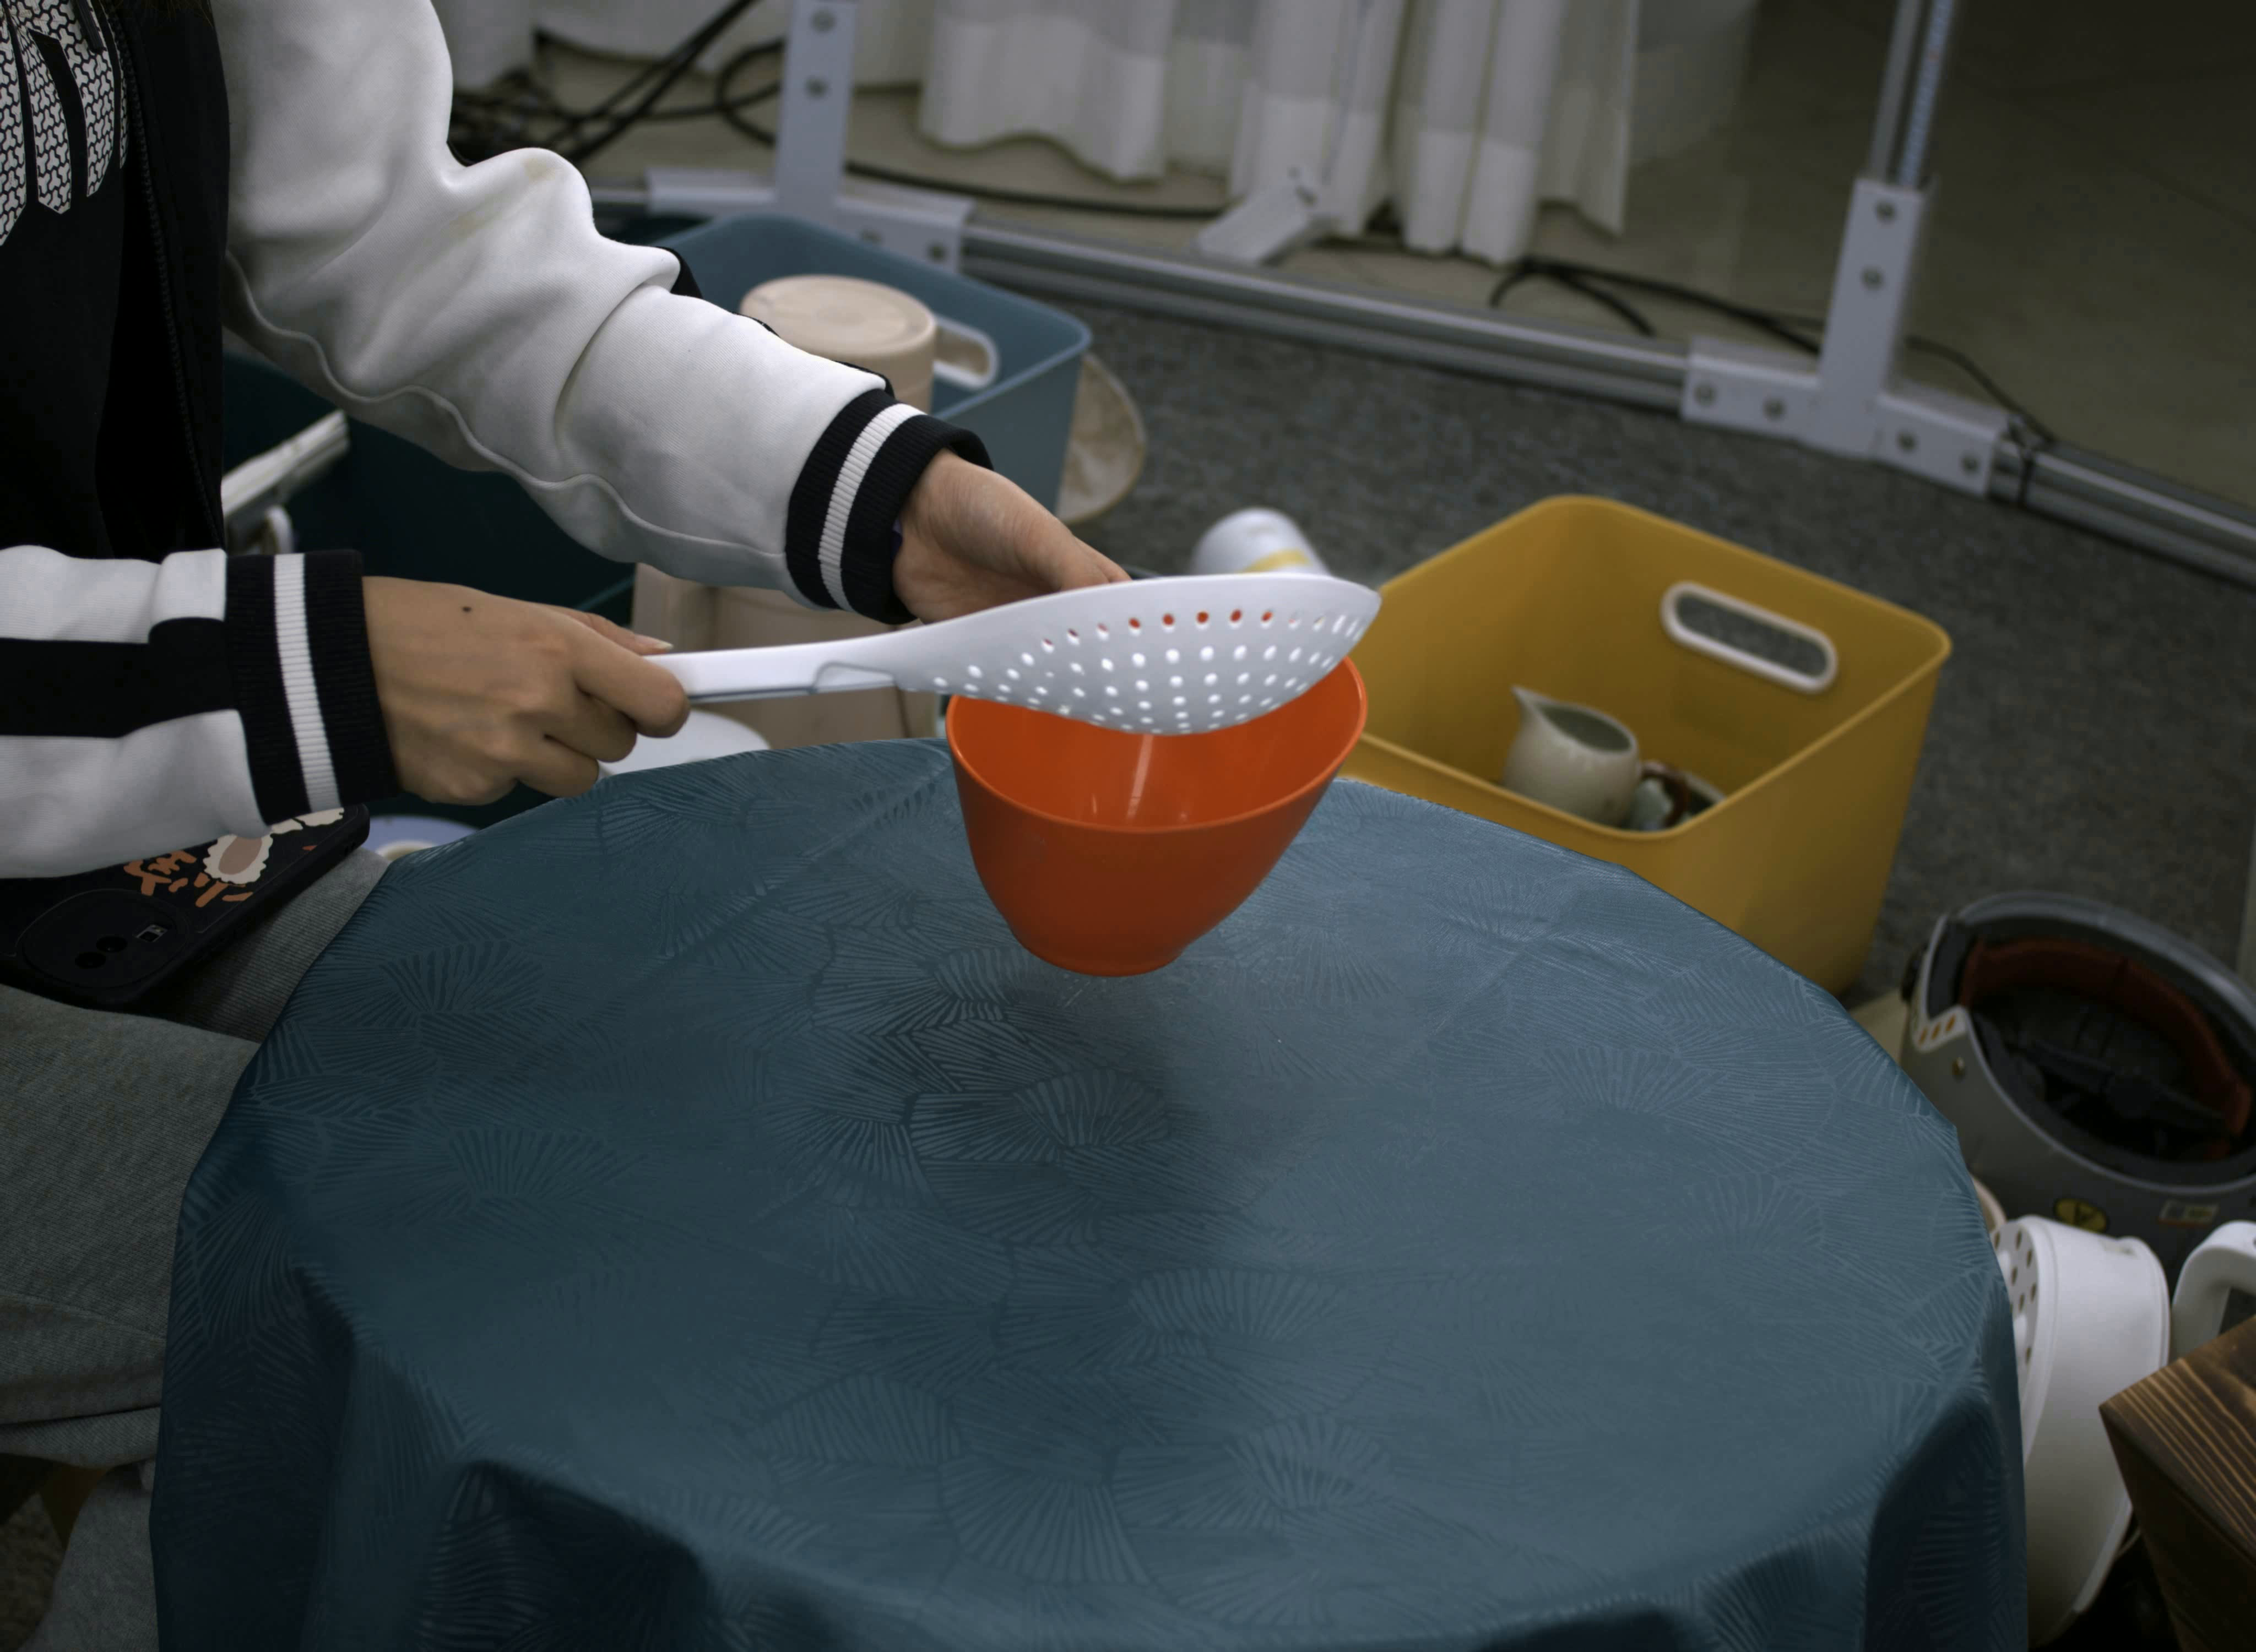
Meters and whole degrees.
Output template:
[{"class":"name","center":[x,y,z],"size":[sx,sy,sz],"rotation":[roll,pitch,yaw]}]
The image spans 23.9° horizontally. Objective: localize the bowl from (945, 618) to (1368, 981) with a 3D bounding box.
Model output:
[{"class":"bowl","center":[0.006,-0.005,1.891],"size":[0.147,0.104,0.149],"rotation":[4,34,-3]}]

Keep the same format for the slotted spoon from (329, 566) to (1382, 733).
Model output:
[{"class":"slotted spoon","center":[-0.091,-0.055,1.755],"size":[0.349,0.046,0.135],"rotation":[0,-8,5]}]
